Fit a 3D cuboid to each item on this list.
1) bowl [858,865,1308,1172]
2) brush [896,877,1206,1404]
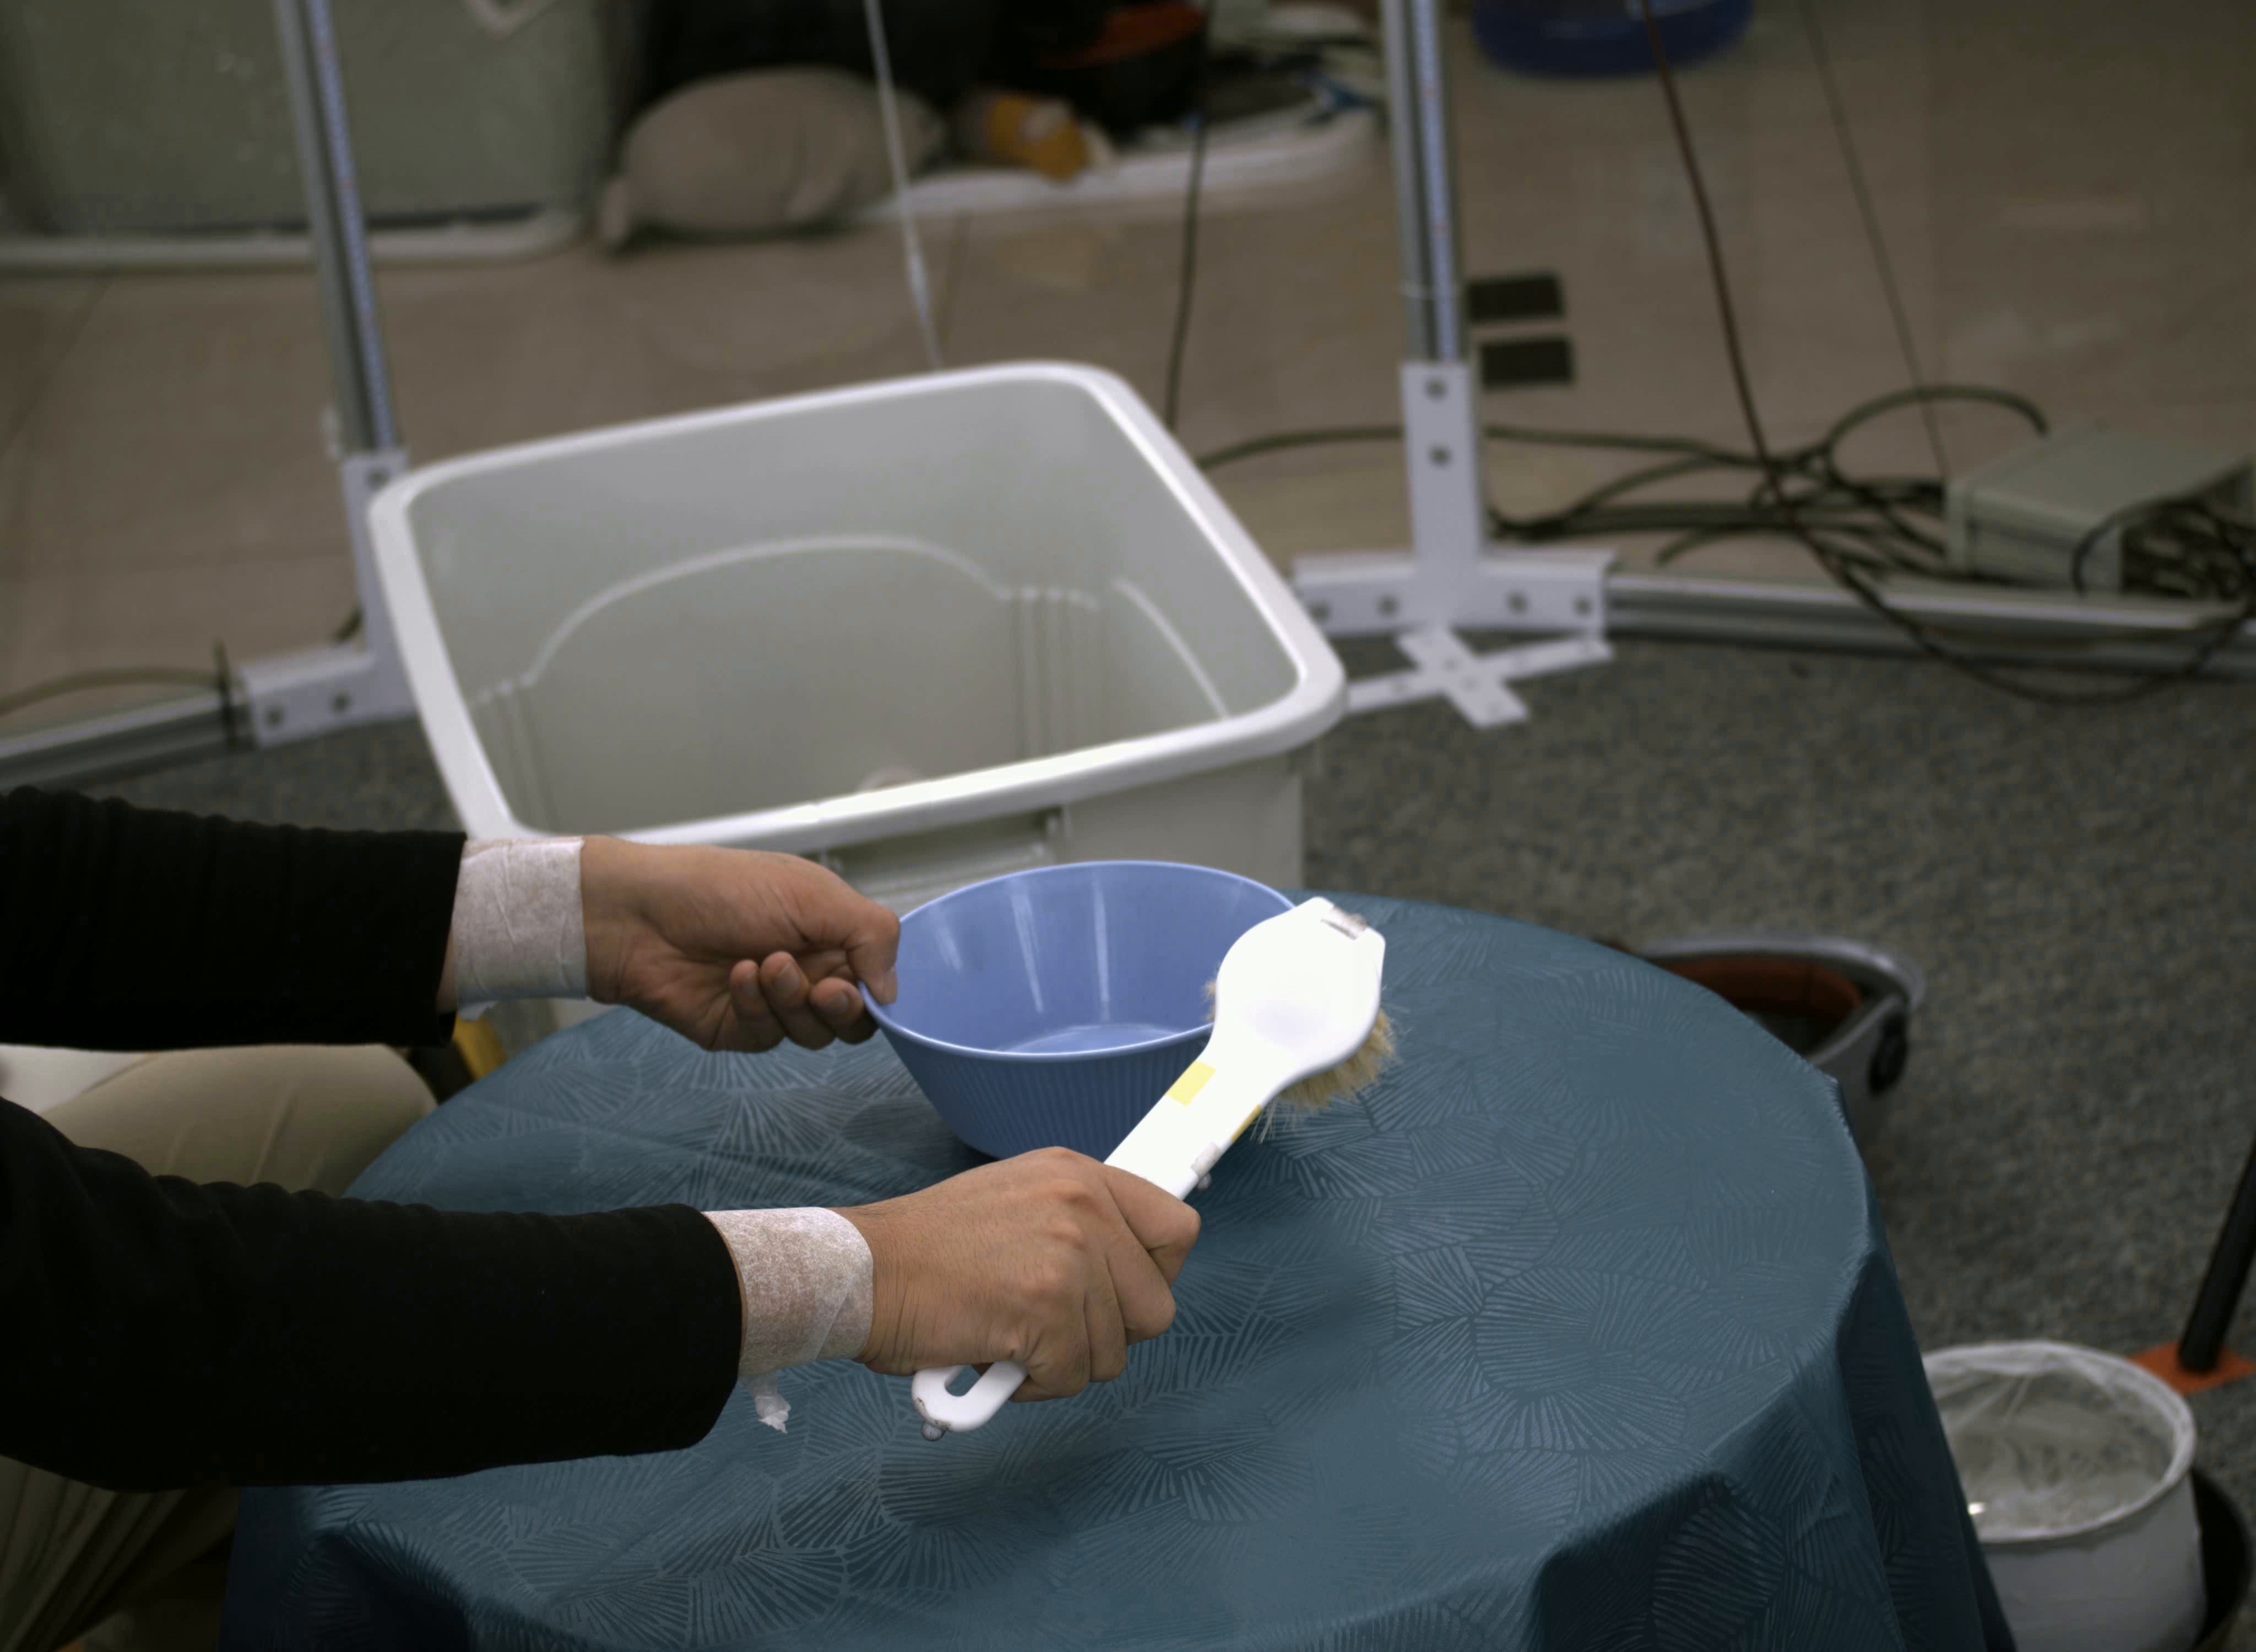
[{"bbox_3d":[-0.014,0.080,2.190,0.176,0.071,0.173,-6,23,2],"label":"bowl"},{"bbox_3d":[-0.034,0.122,2.016,0.068,0.057,0.262,9,45,12],"label":"brush"}]
